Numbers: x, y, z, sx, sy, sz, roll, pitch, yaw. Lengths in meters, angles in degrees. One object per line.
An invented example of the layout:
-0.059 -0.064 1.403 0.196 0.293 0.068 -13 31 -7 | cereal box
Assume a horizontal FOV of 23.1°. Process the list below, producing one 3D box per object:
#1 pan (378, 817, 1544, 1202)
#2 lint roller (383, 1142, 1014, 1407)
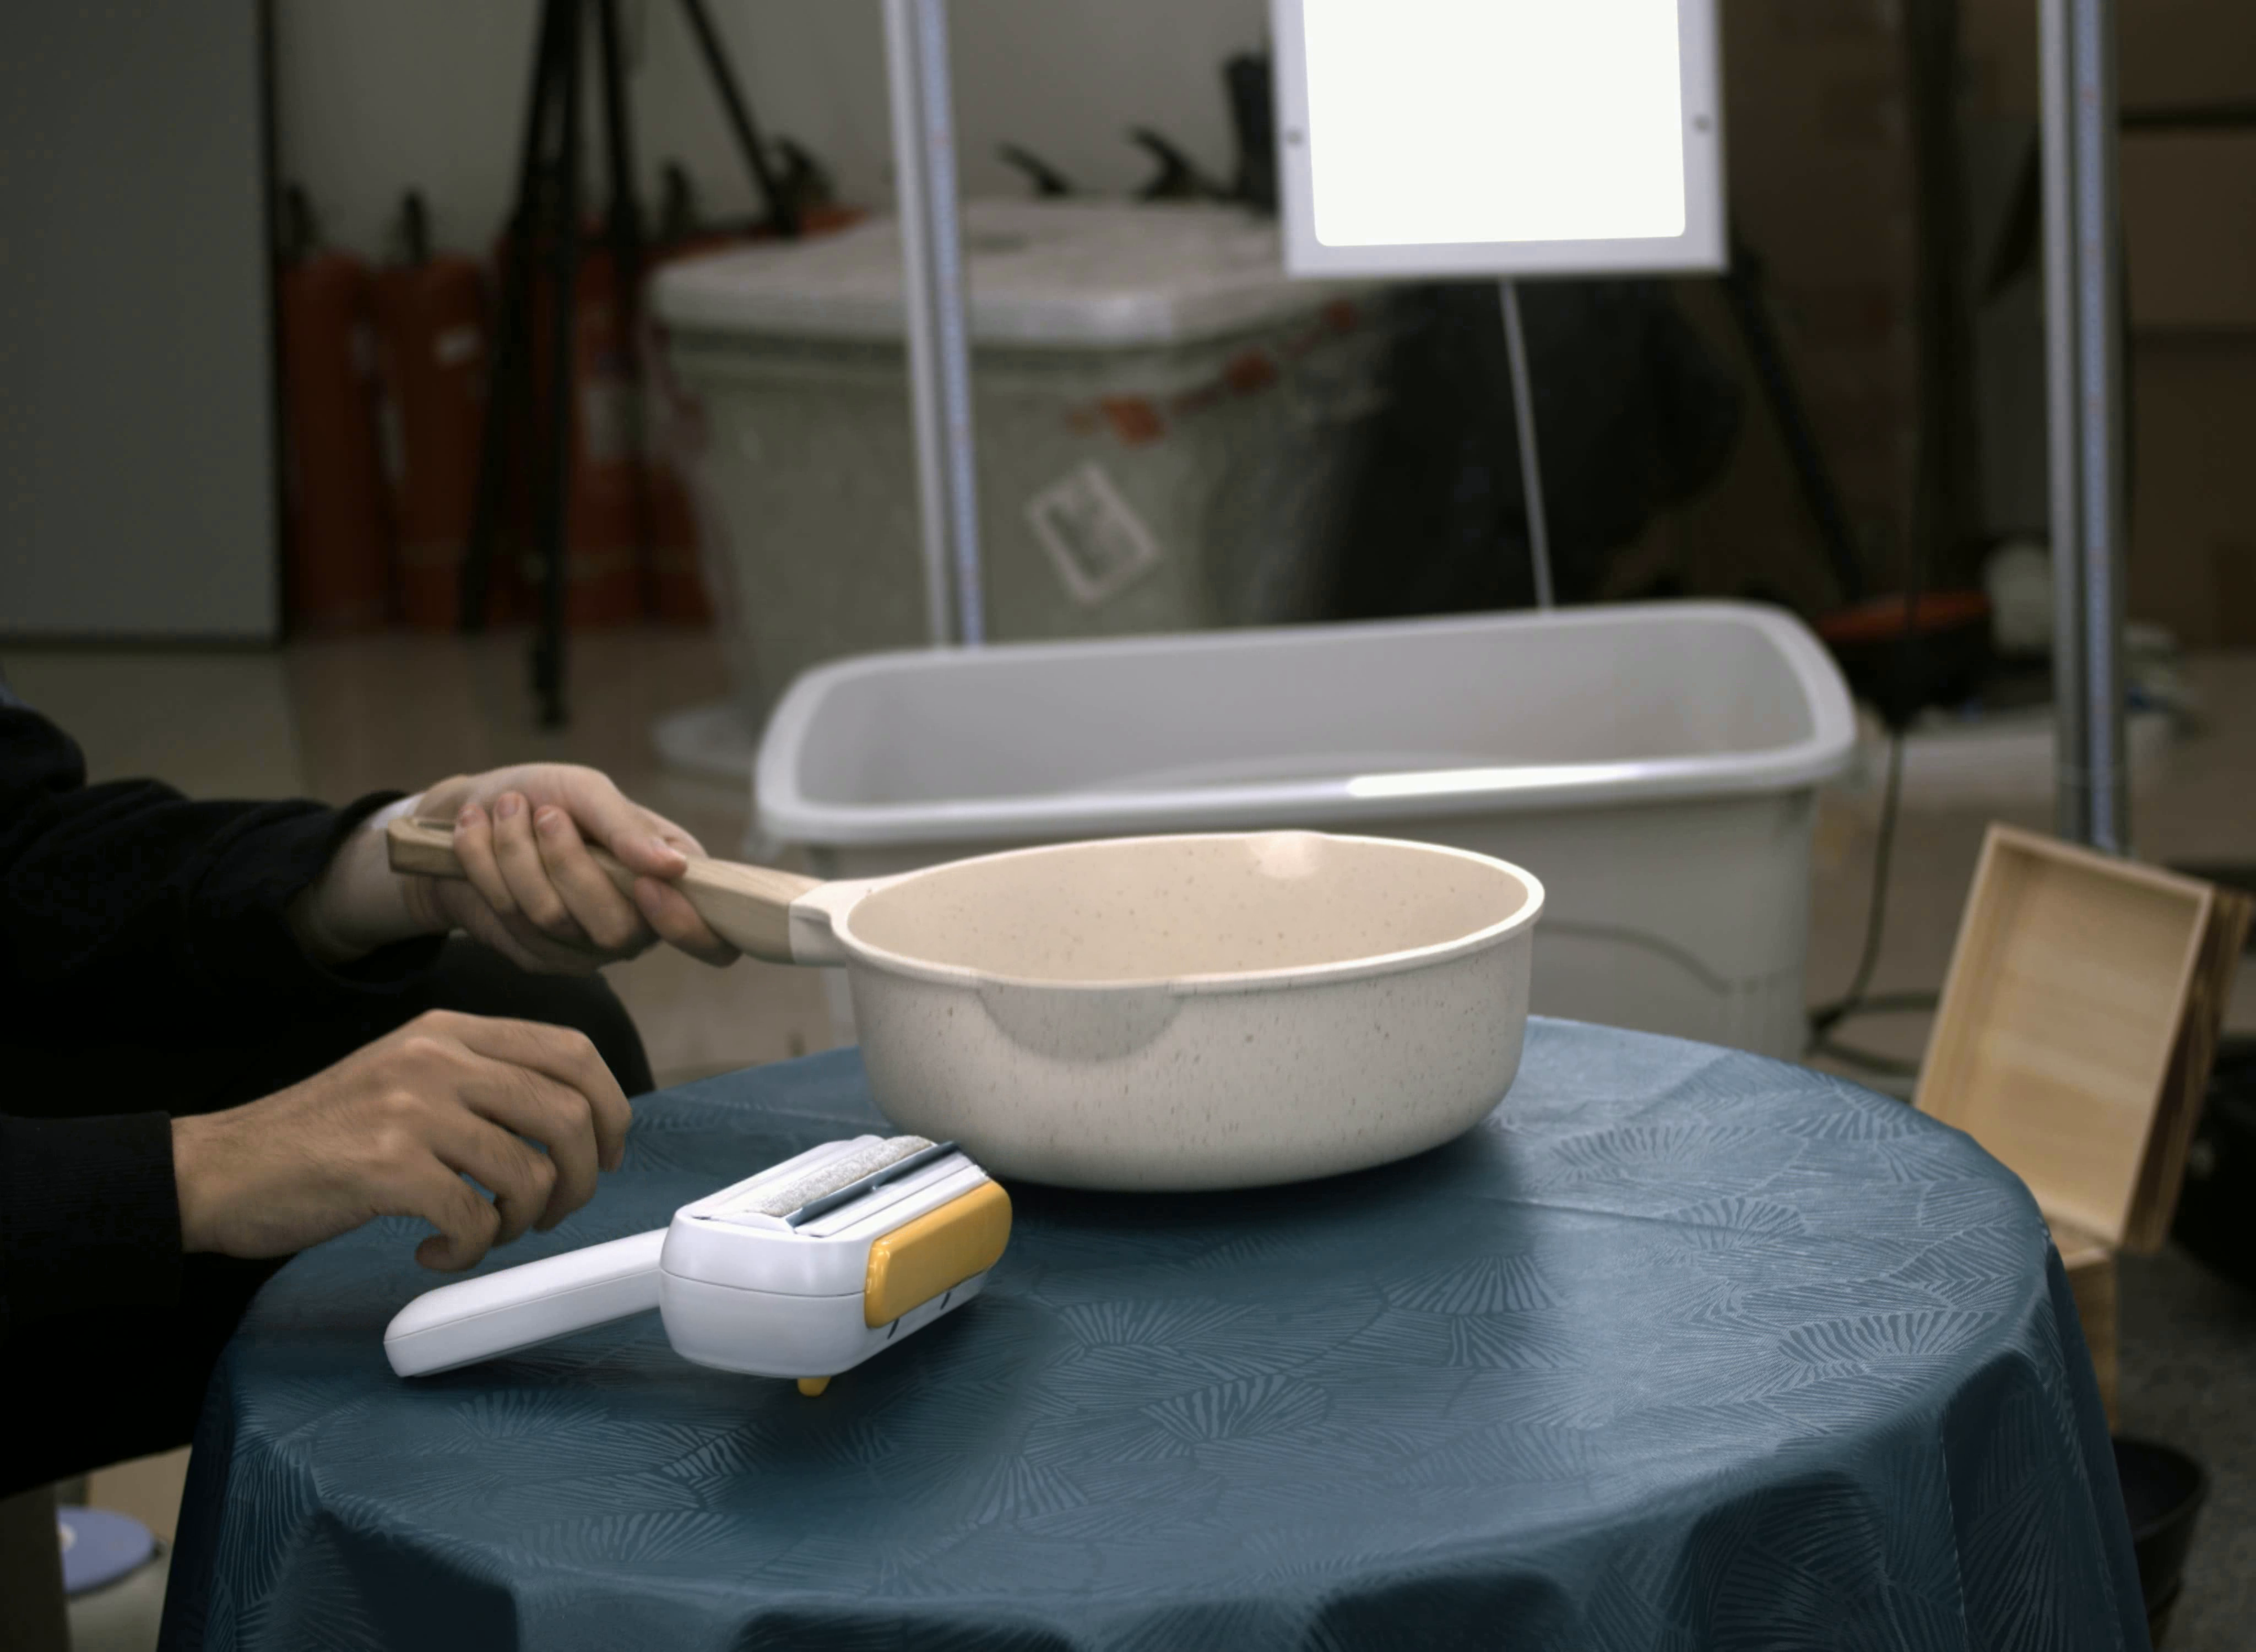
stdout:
-0.064 0.057 1.970 0.440 0.102 0.259 1 14 20 | pan
-0.148 0.143 1.741 0.195 0.074 0.189 -2 8 20 | lint roller
